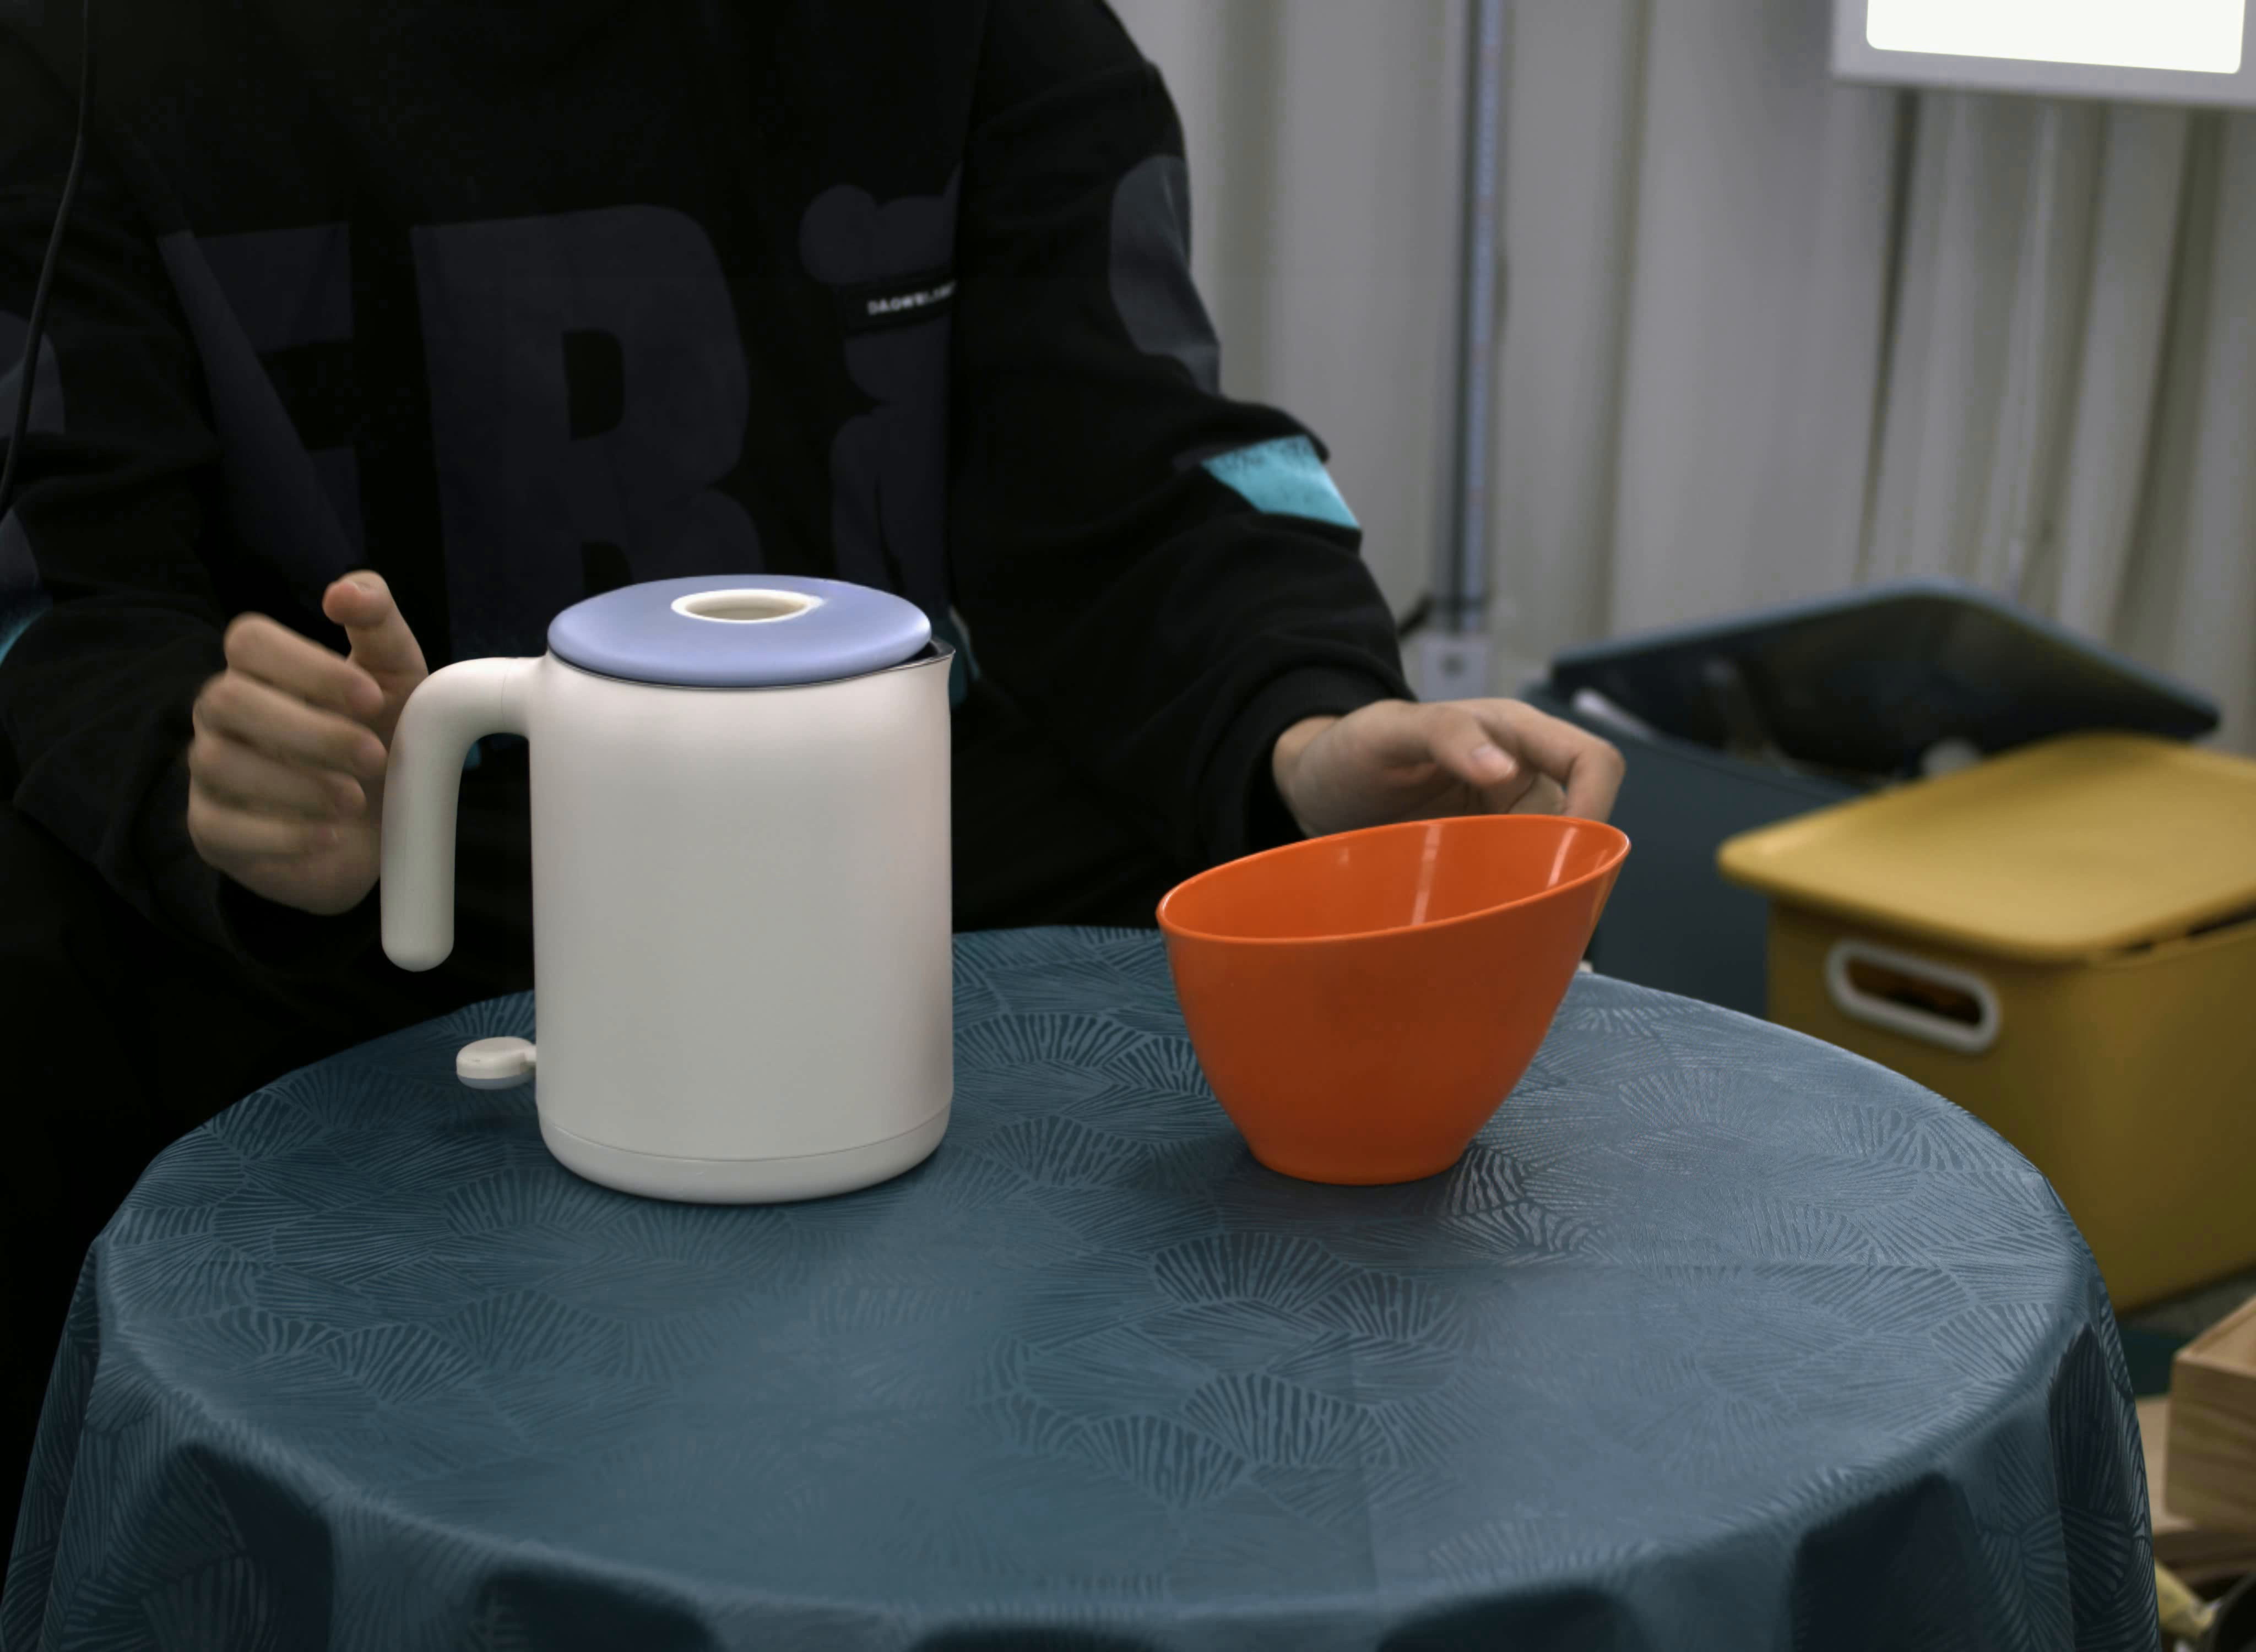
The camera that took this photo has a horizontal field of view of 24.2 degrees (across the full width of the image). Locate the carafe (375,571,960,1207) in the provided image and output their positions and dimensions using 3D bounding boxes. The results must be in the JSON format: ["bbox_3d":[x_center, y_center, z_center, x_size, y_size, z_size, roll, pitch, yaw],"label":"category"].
[{"bbox_3d":[-0.143,0.018,1.637,0.190,0.184,0.132,1,15,11],"label":"carafe"}]

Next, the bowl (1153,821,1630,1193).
[{"bbox_3d":[0.080,0.056,1.636,0.147,0.105,0.147,1,16,0],"label":"bowl"}]
